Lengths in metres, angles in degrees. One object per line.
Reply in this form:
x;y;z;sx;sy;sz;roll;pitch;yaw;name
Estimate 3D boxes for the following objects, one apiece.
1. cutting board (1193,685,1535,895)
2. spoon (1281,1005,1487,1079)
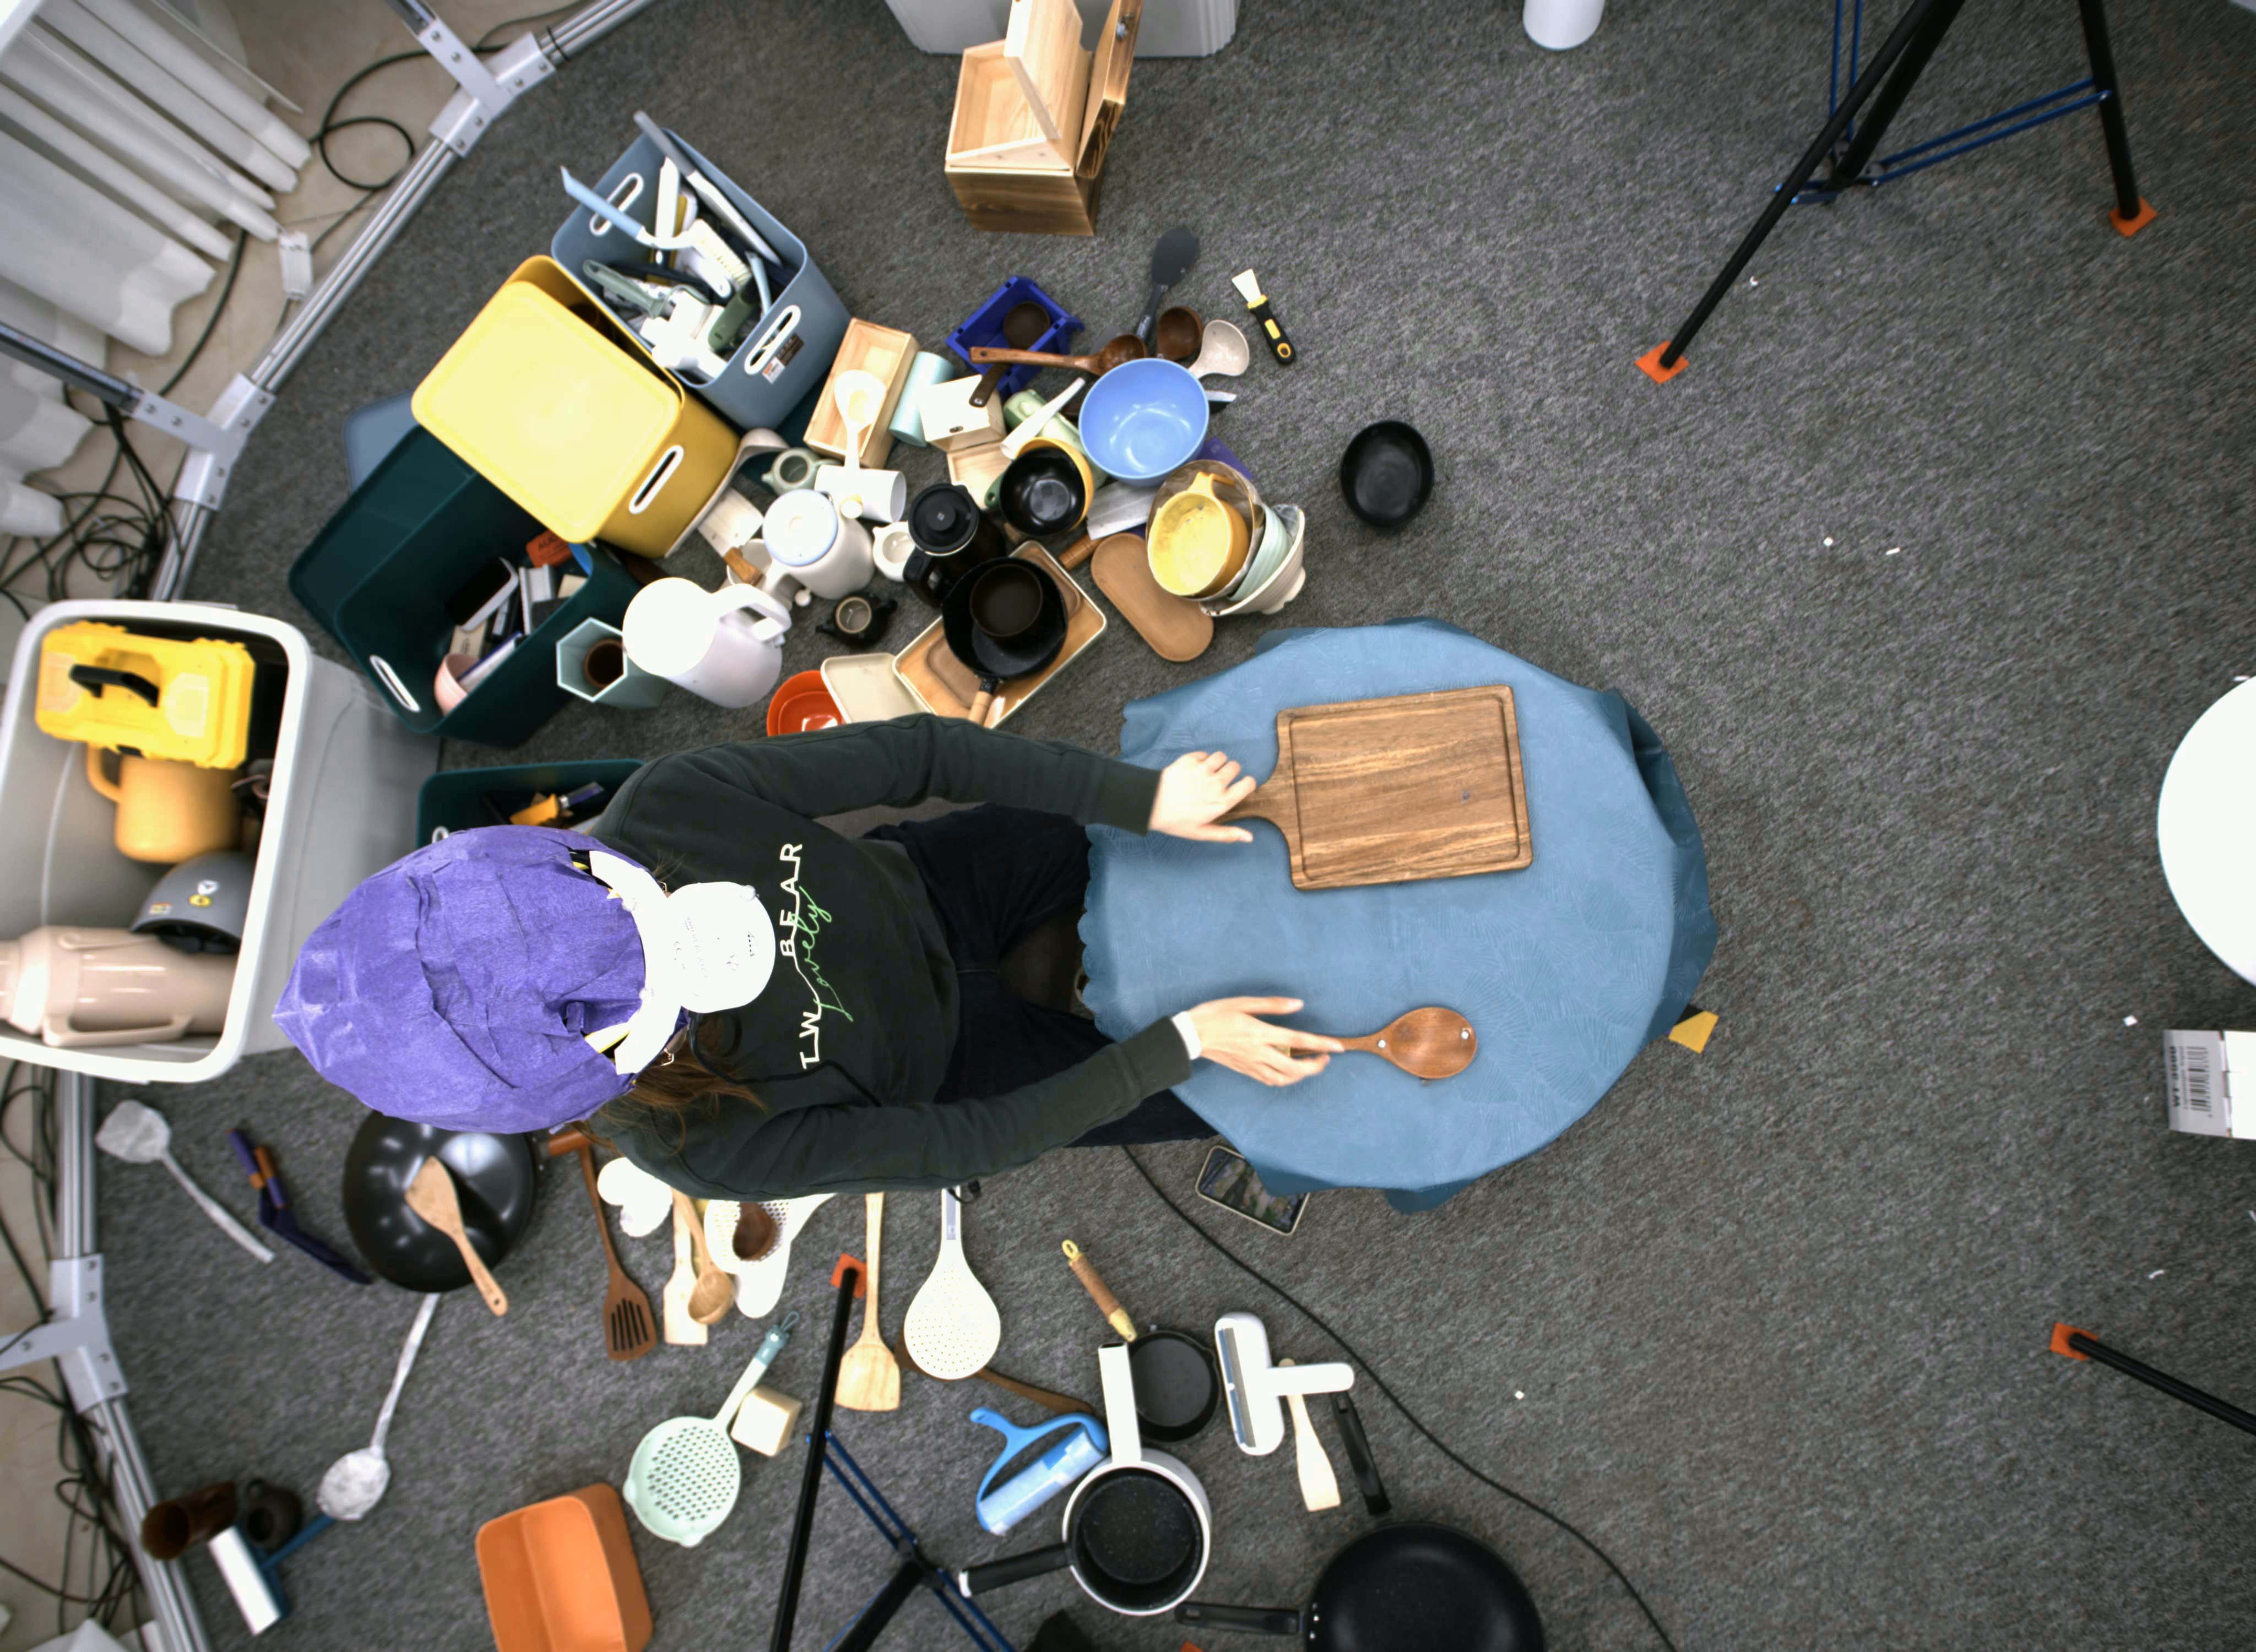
0.244;-0.033;1.468;0.354;0.023;0.200;-6;86;10;cutting board
0.267;0.216;1.454;0.216;0.017;0.075;6;85;15;spoon
